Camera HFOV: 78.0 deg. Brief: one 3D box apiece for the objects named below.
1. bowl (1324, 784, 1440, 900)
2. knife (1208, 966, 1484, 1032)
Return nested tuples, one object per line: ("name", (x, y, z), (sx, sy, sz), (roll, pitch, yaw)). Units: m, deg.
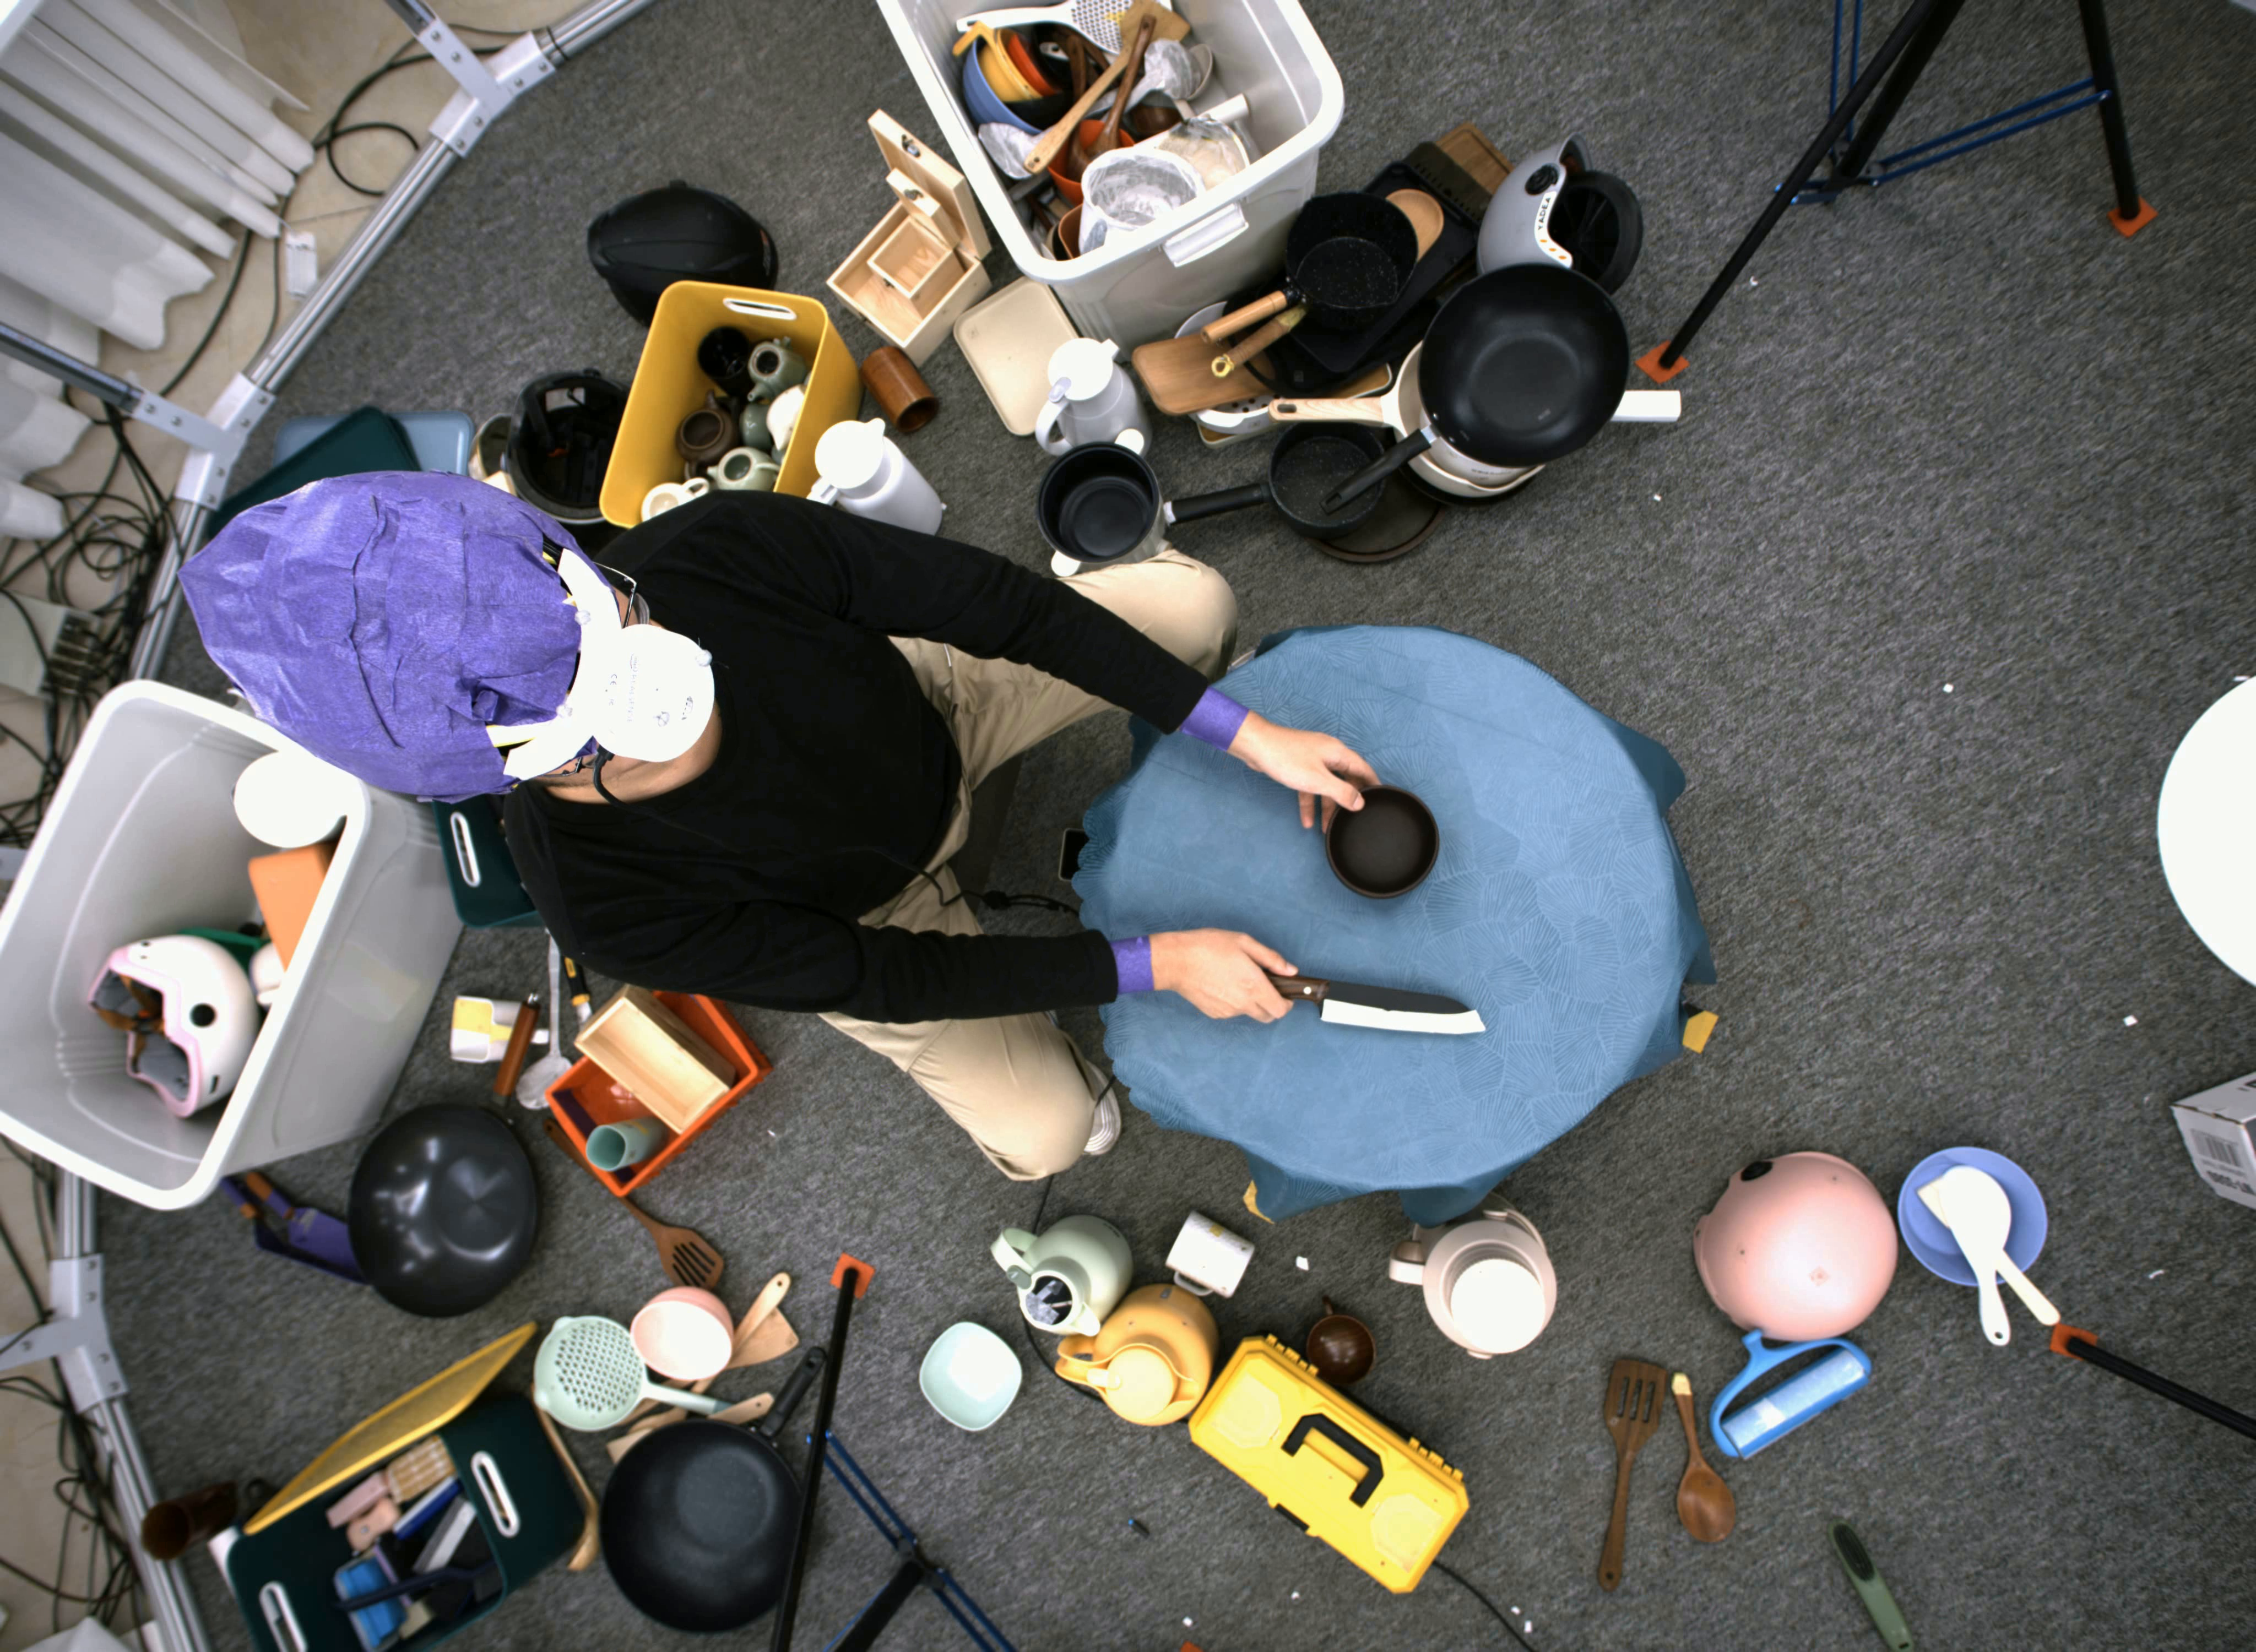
("bowl", (0.262, 0.017, 1.429), (0.118, 0.070, 0.117), (-1, 86, 11))
("knife", (0.225, 0.179, 1.433), (0.290, 0.020, 0.051), (9, 106, 8))
